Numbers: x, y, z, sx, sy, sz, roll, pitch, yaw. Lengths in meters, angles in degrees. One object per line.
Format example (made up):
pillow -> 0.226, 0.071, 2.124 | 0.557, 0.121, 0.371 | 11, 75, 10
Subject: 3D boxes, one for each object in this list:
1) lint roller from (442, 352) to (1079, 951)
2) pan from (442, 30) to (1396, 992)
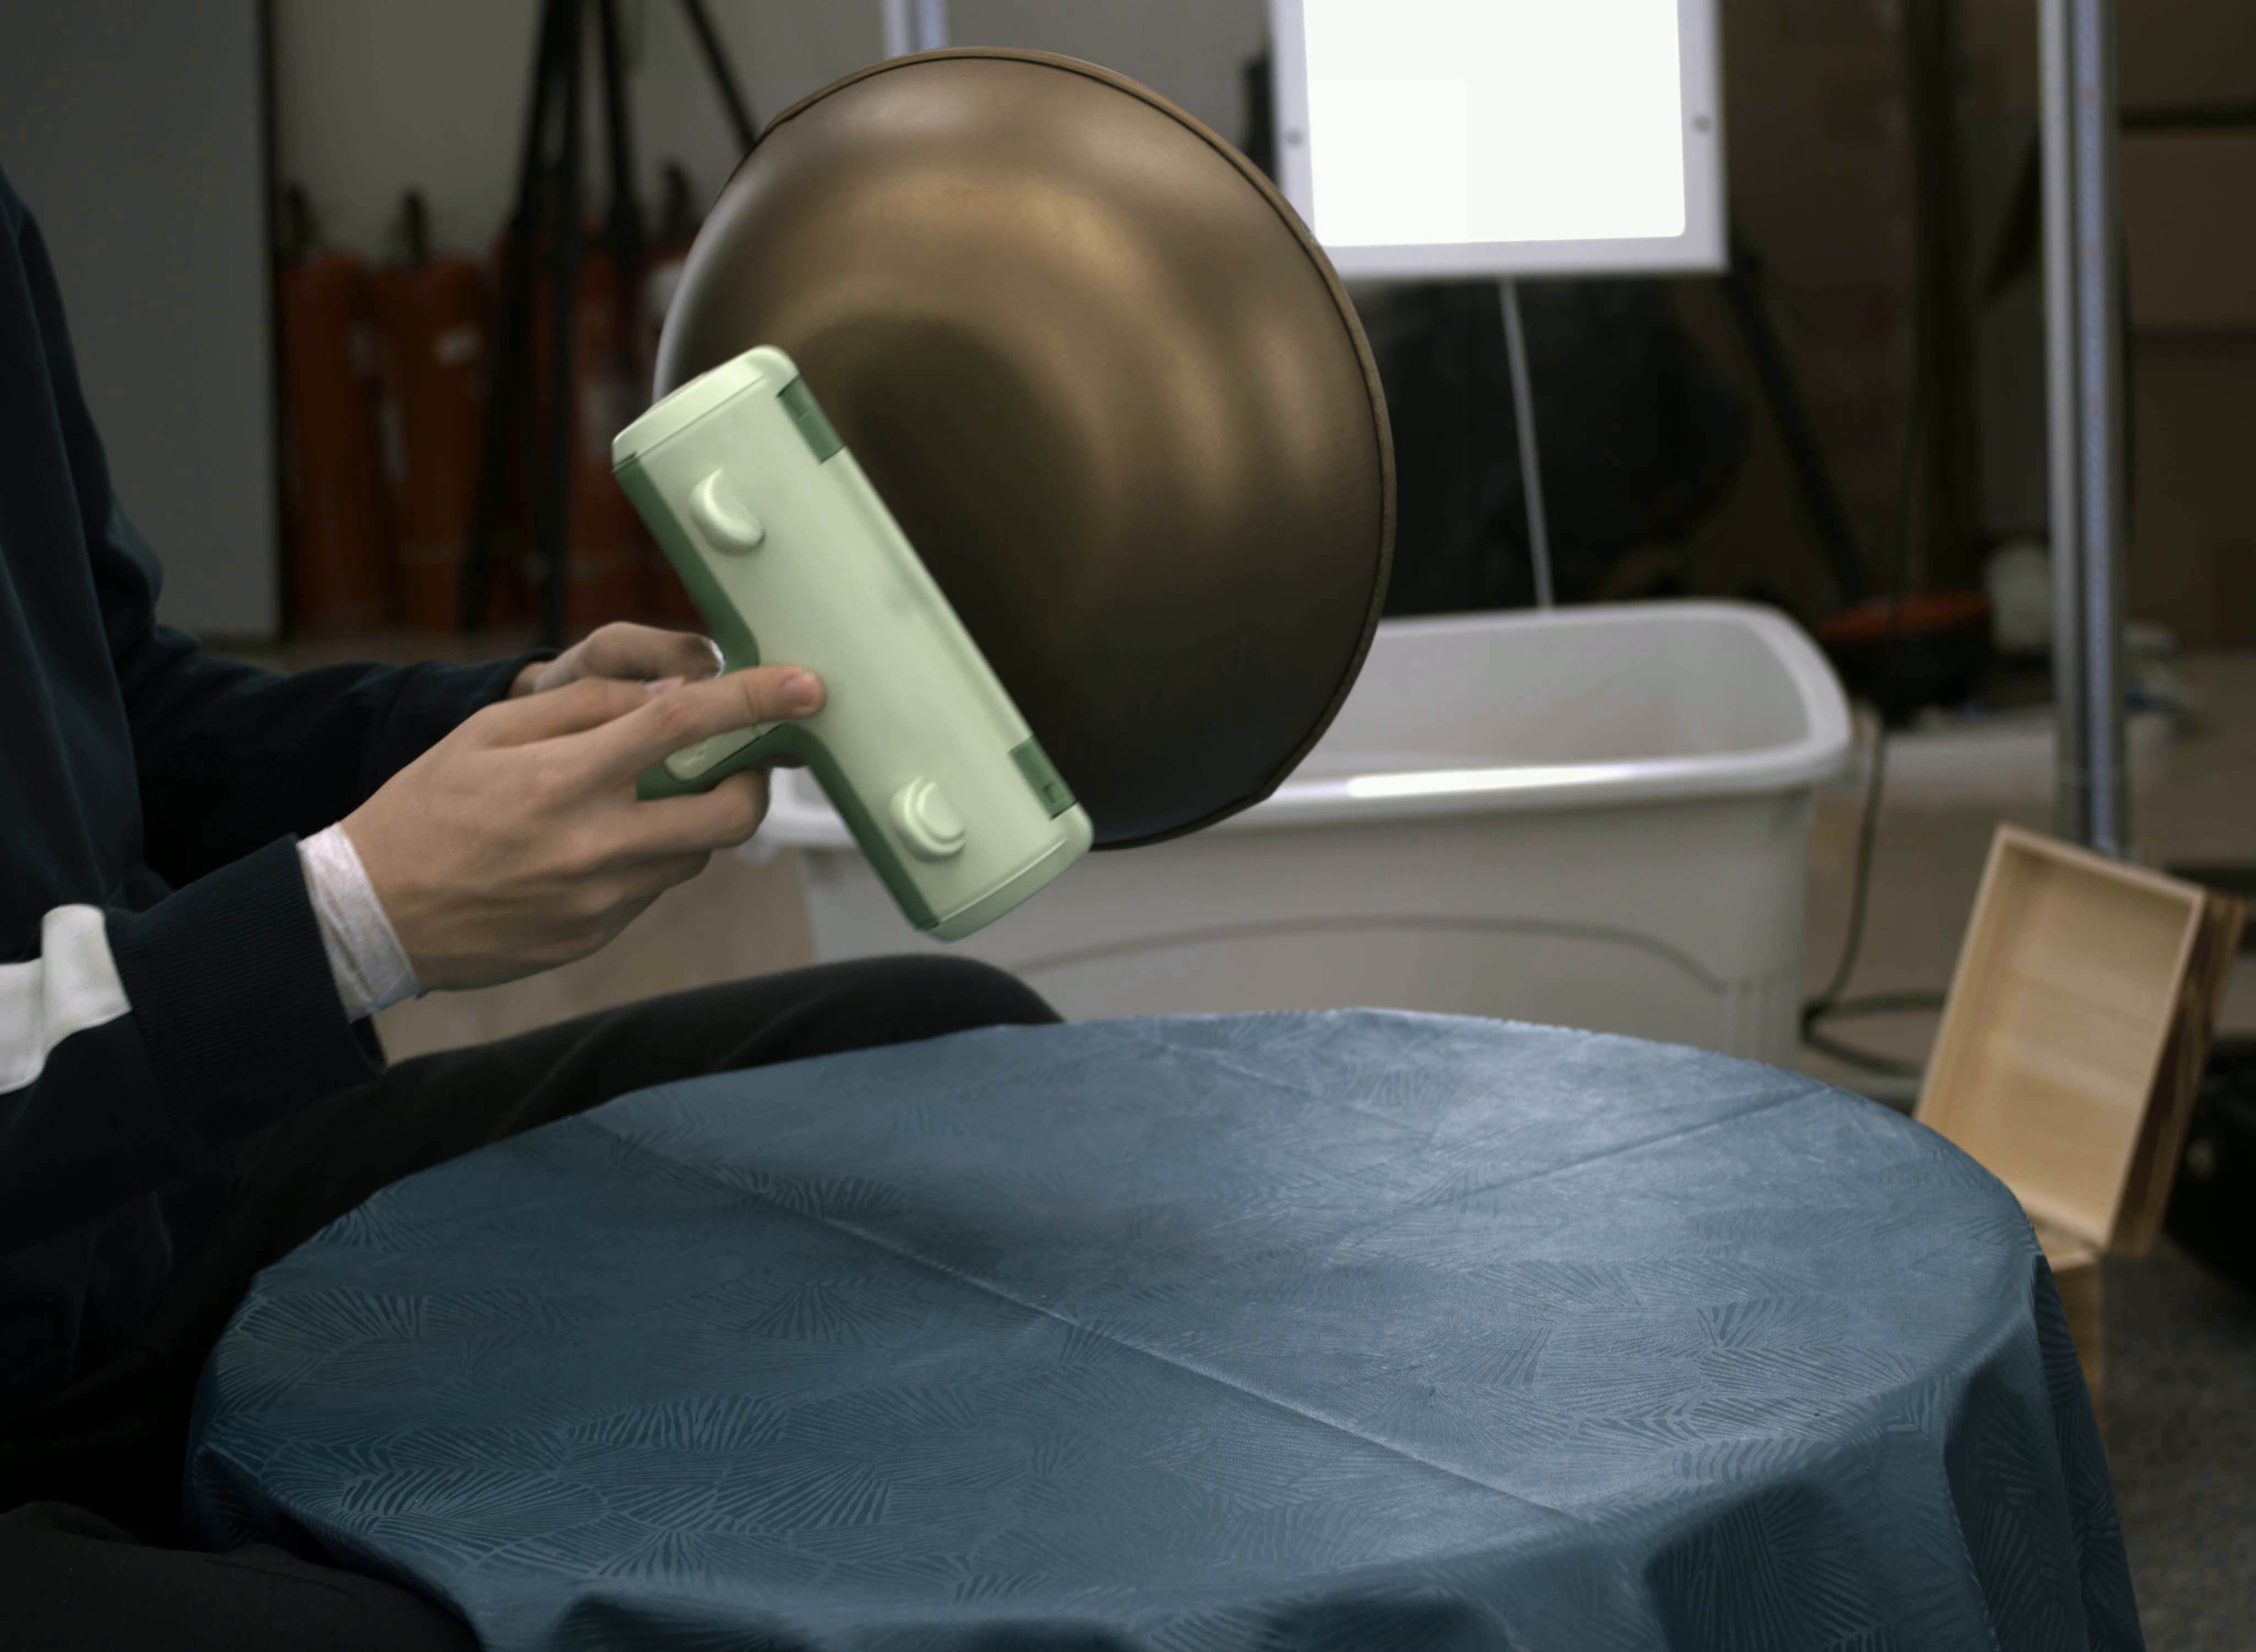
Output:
lint roller -> -0.140, -0.023, 1.753 | 0.183, 0.198, 0.082 | -33, 6, -2
pan -> -0.114, -0.070, 1.888 | 0.472, 0.289, 0.085 | -39, -6, 33
